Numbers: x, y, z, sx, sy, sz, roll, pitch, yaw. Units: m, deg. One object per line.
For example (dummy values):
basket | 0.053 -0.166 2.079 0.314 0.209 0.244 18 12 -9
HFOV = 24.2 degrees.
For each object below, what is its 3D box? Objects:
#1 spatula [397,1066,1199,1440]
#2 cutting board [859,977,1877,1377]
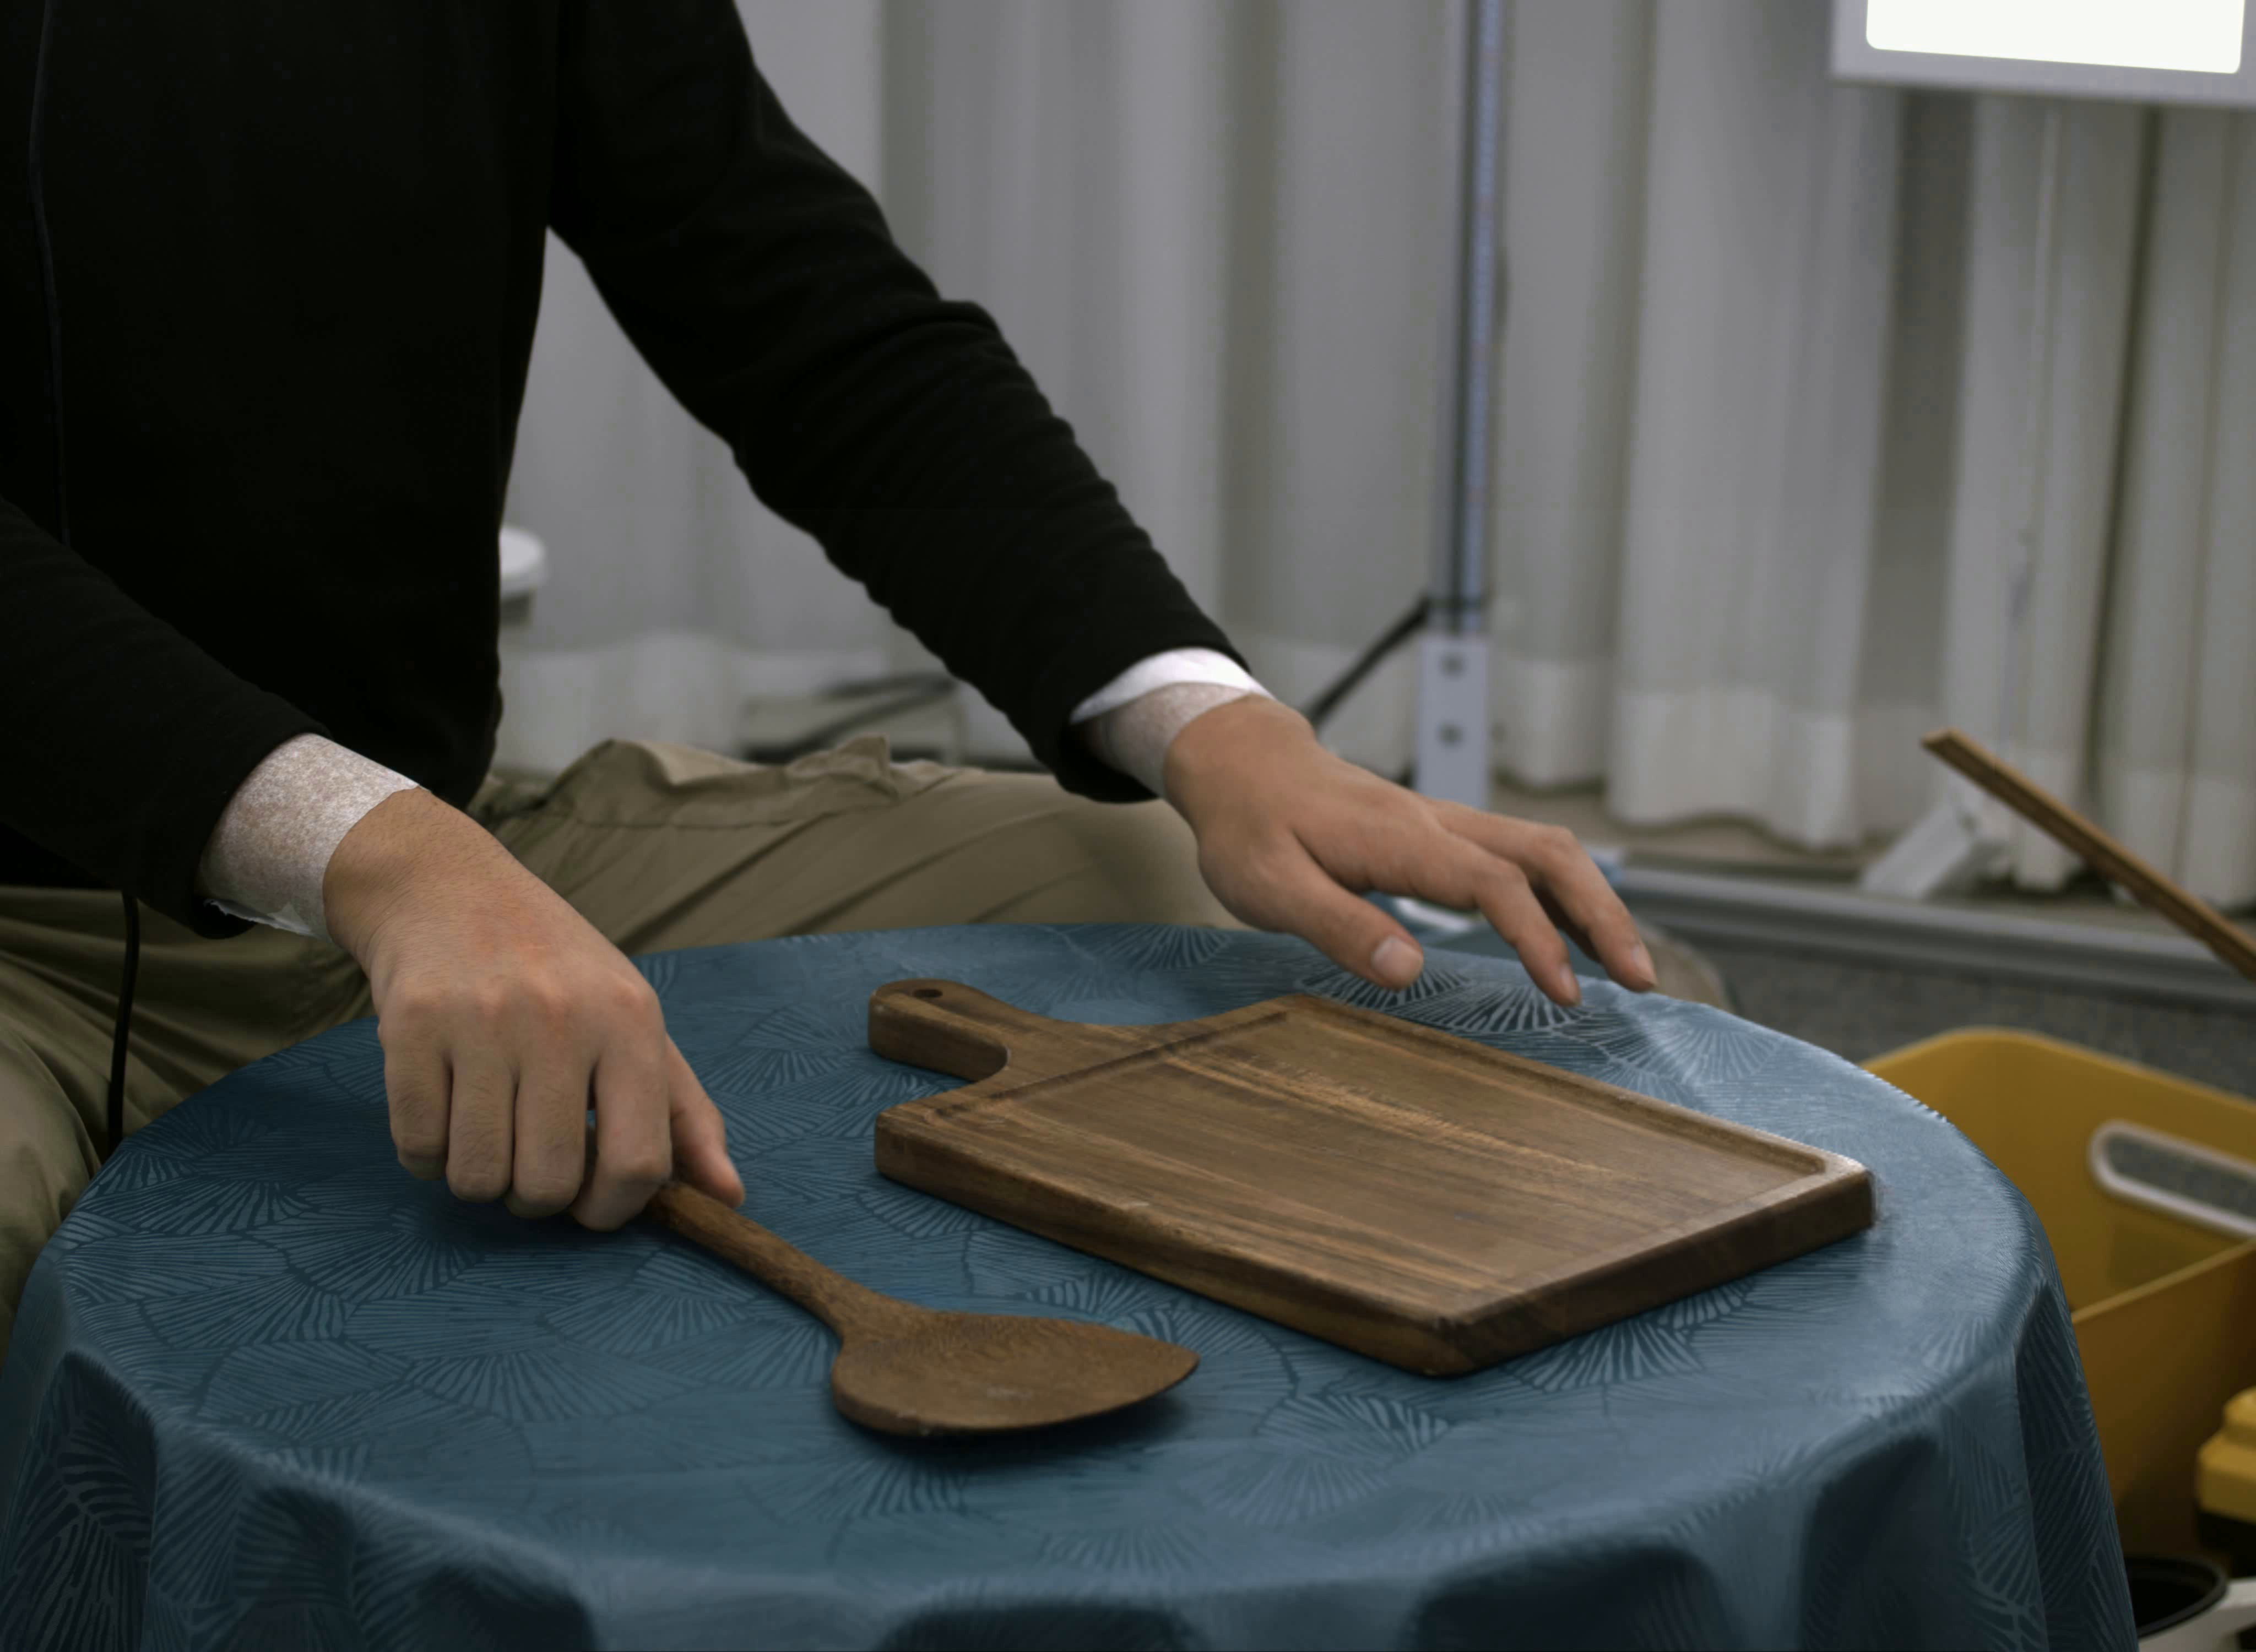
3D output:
spatula | -0.120 0.120 1.560 0.096 0.016 0.381 -10 19 -35
cutting board | 0.040 0.095 1.646 0.202 0.023 0.347 -14 21 -43
